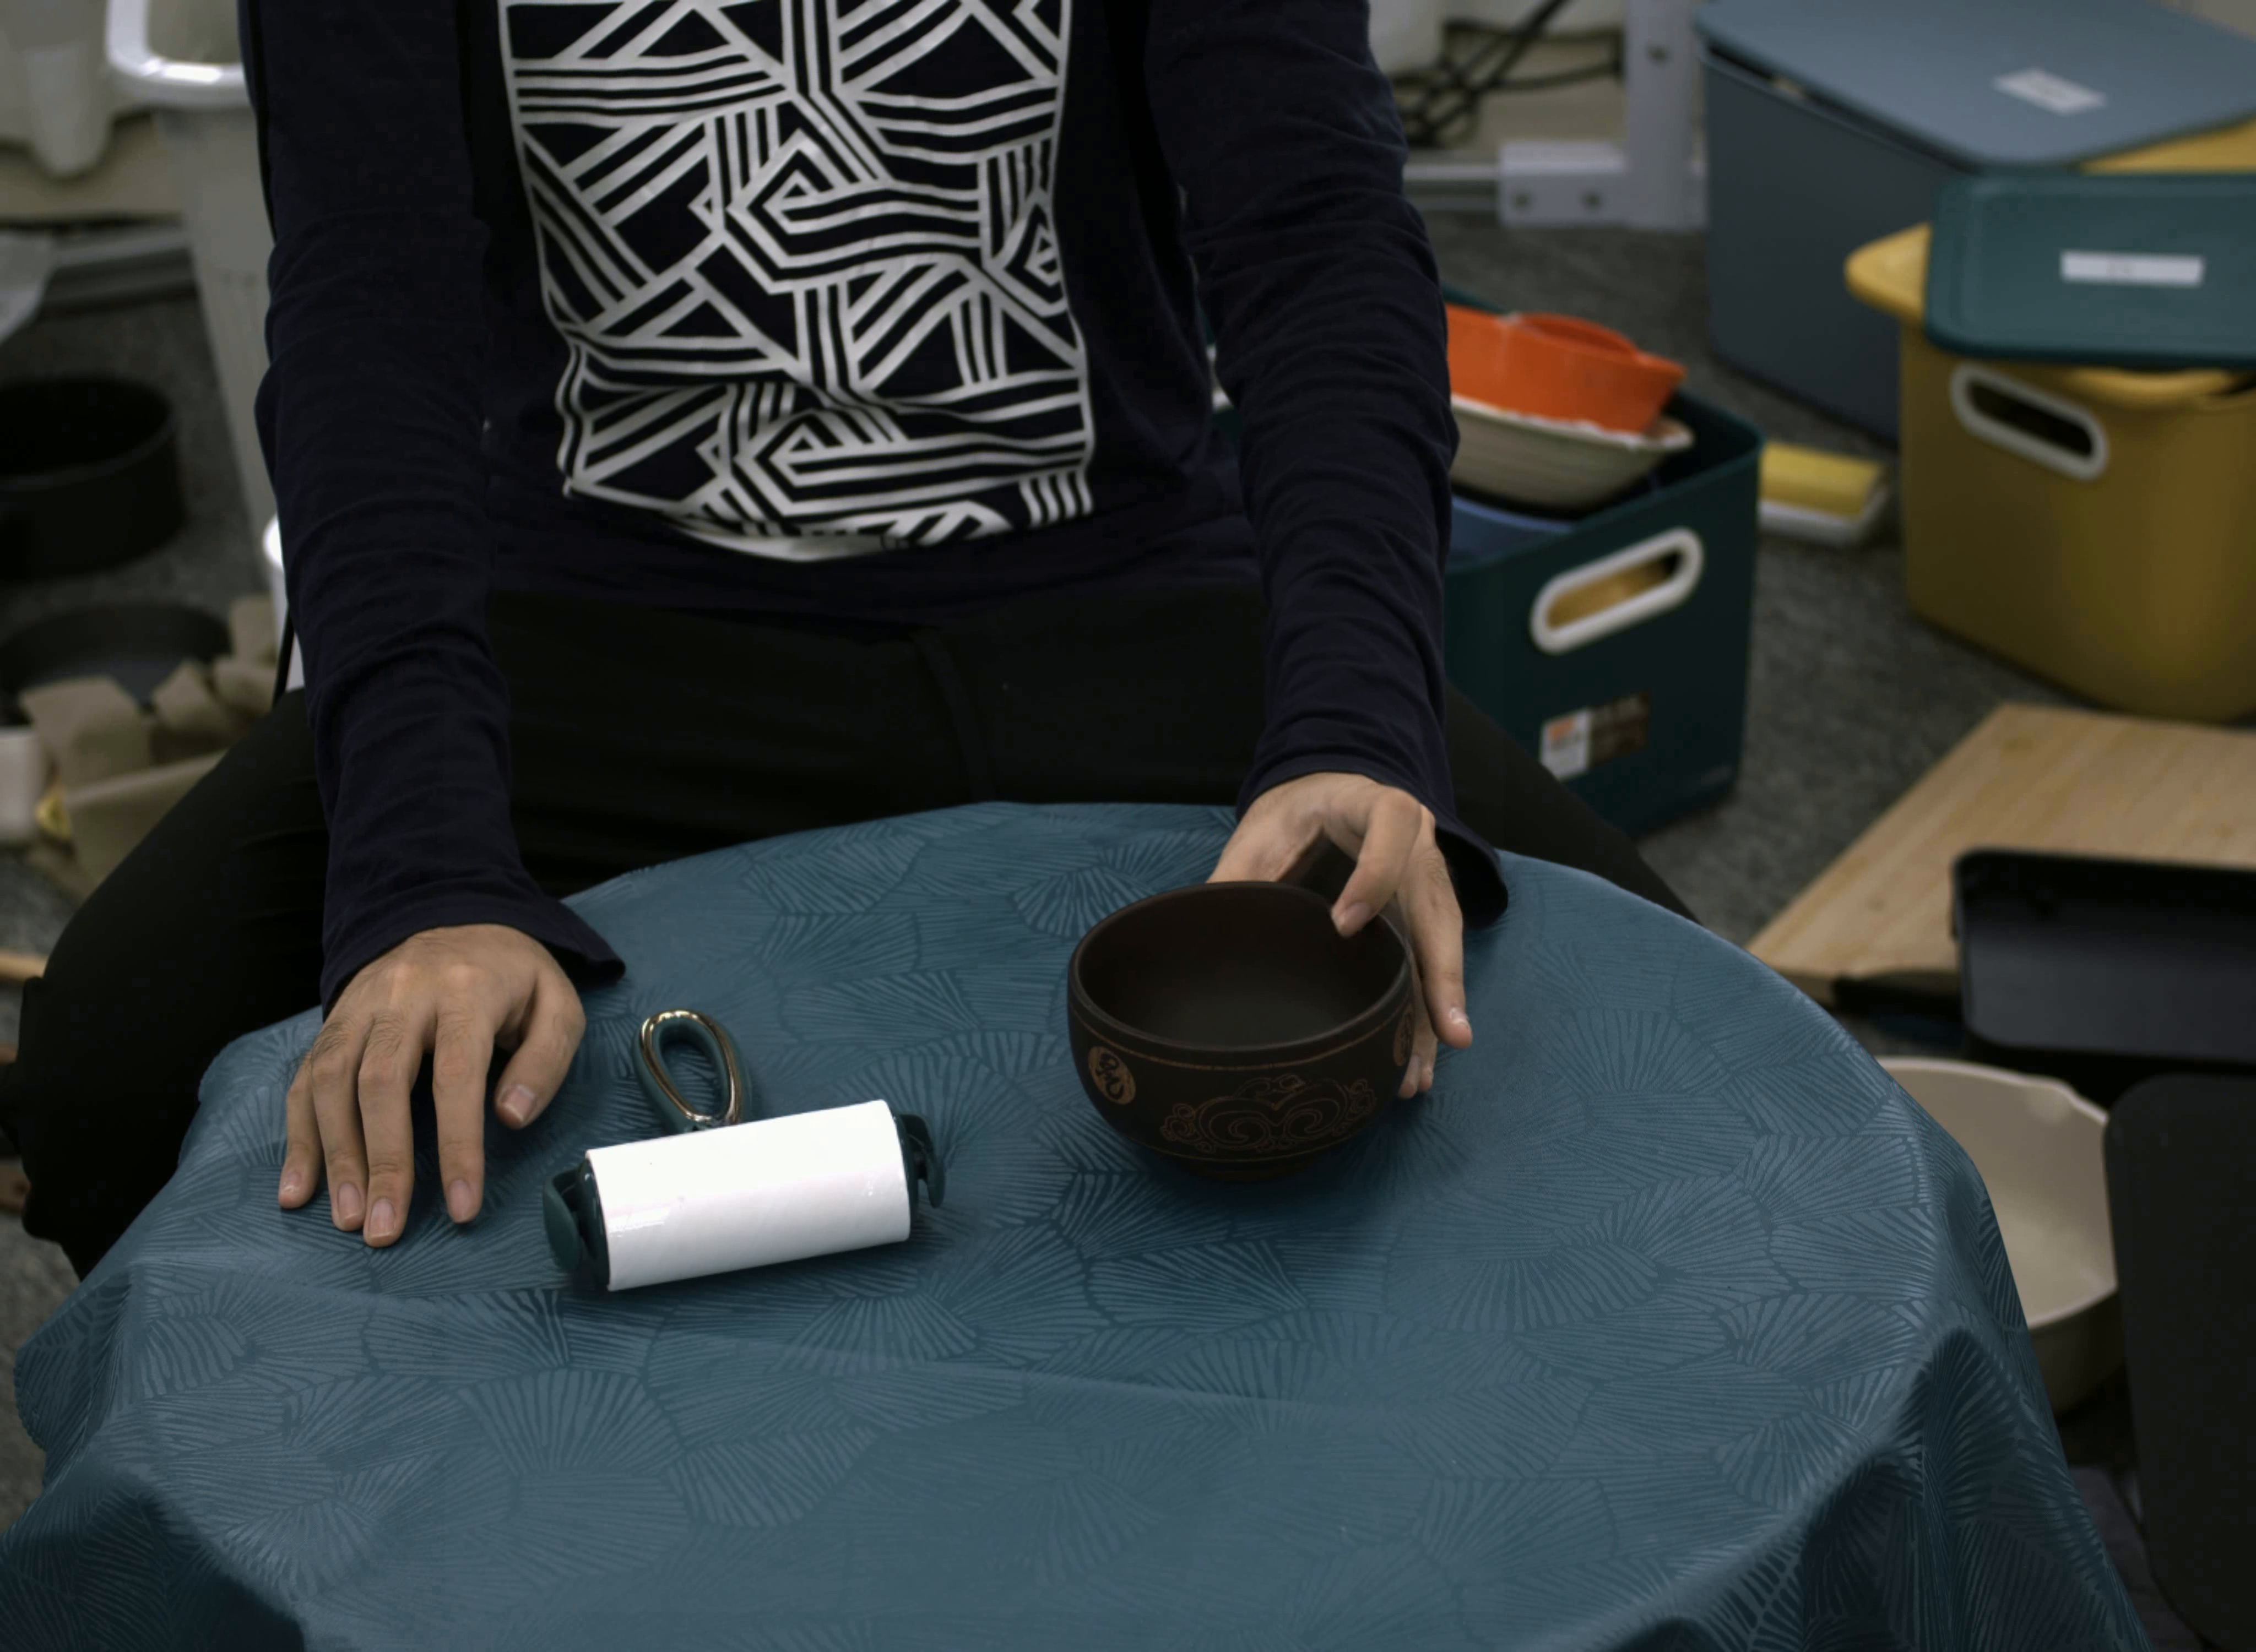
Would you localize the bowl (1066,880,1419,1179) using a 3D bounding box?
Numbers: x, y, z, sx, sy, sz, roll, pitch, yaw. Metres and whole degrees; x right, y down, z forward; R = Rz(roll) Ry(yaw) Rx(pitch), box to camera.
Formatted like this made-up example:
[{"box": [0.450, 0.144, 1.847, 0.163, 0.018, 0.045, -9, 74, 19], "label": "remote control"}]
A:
[{"box": [0.039, 0.074, 1.872, 0.117, 0.069, 0.120, -4, 25, 2], "label": "bowl"}]

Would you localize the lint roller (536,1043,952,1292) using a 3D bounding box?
[{"box": [-0.141, 0.094, 1.885, 0.134, 0.048, 0.182, -9, 25, -12], "label": "lint roller"}]
